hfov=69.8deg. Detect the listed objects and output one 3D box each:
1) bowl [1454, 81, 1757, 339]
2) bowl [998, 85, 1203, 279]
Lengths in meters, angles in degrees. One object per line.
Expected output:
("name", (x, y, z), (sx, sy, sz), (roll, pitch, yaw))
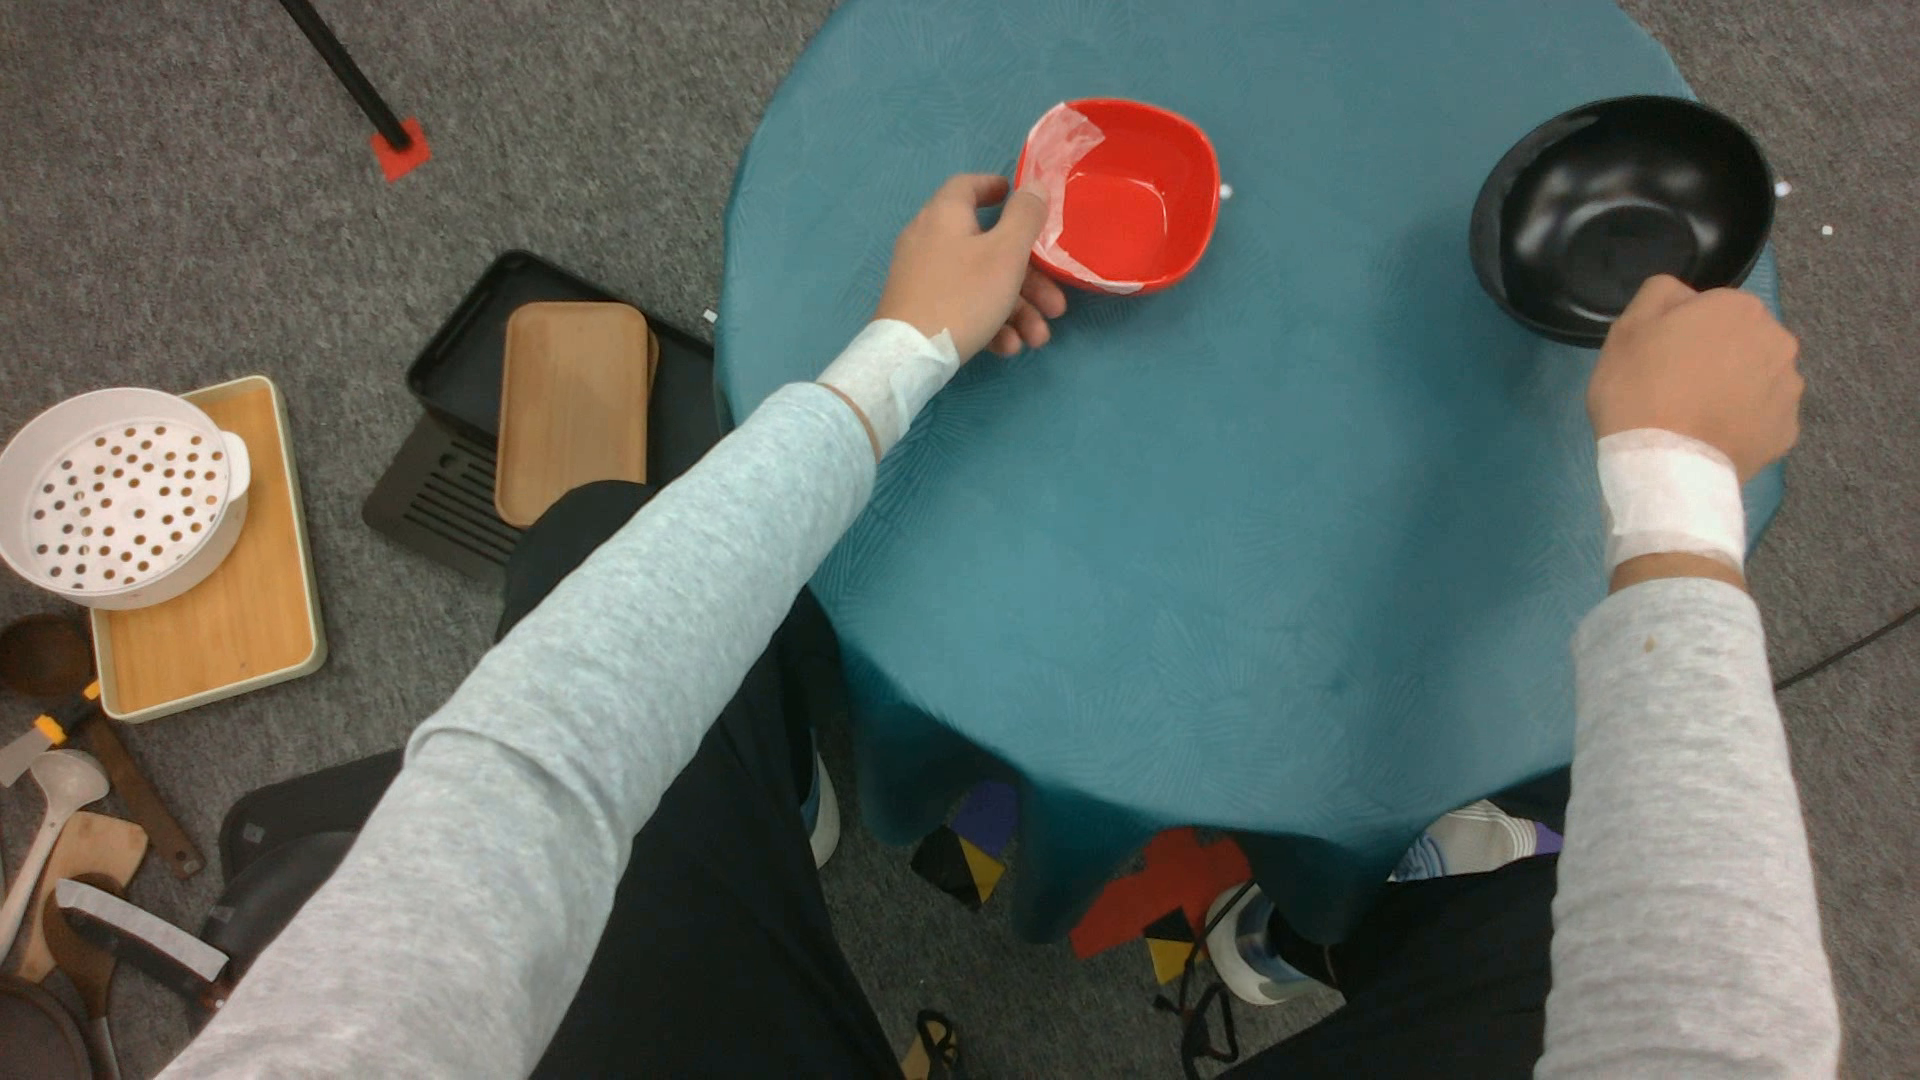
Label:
("bowl", (0.330, -0.161, 0.707), (0.139, 0.050, 0.140), (-11, 67, 29))
("bowl", (0.074, -0.188, 0.759), (0.119, 0.051, 0.119), (1, 72, -4))
